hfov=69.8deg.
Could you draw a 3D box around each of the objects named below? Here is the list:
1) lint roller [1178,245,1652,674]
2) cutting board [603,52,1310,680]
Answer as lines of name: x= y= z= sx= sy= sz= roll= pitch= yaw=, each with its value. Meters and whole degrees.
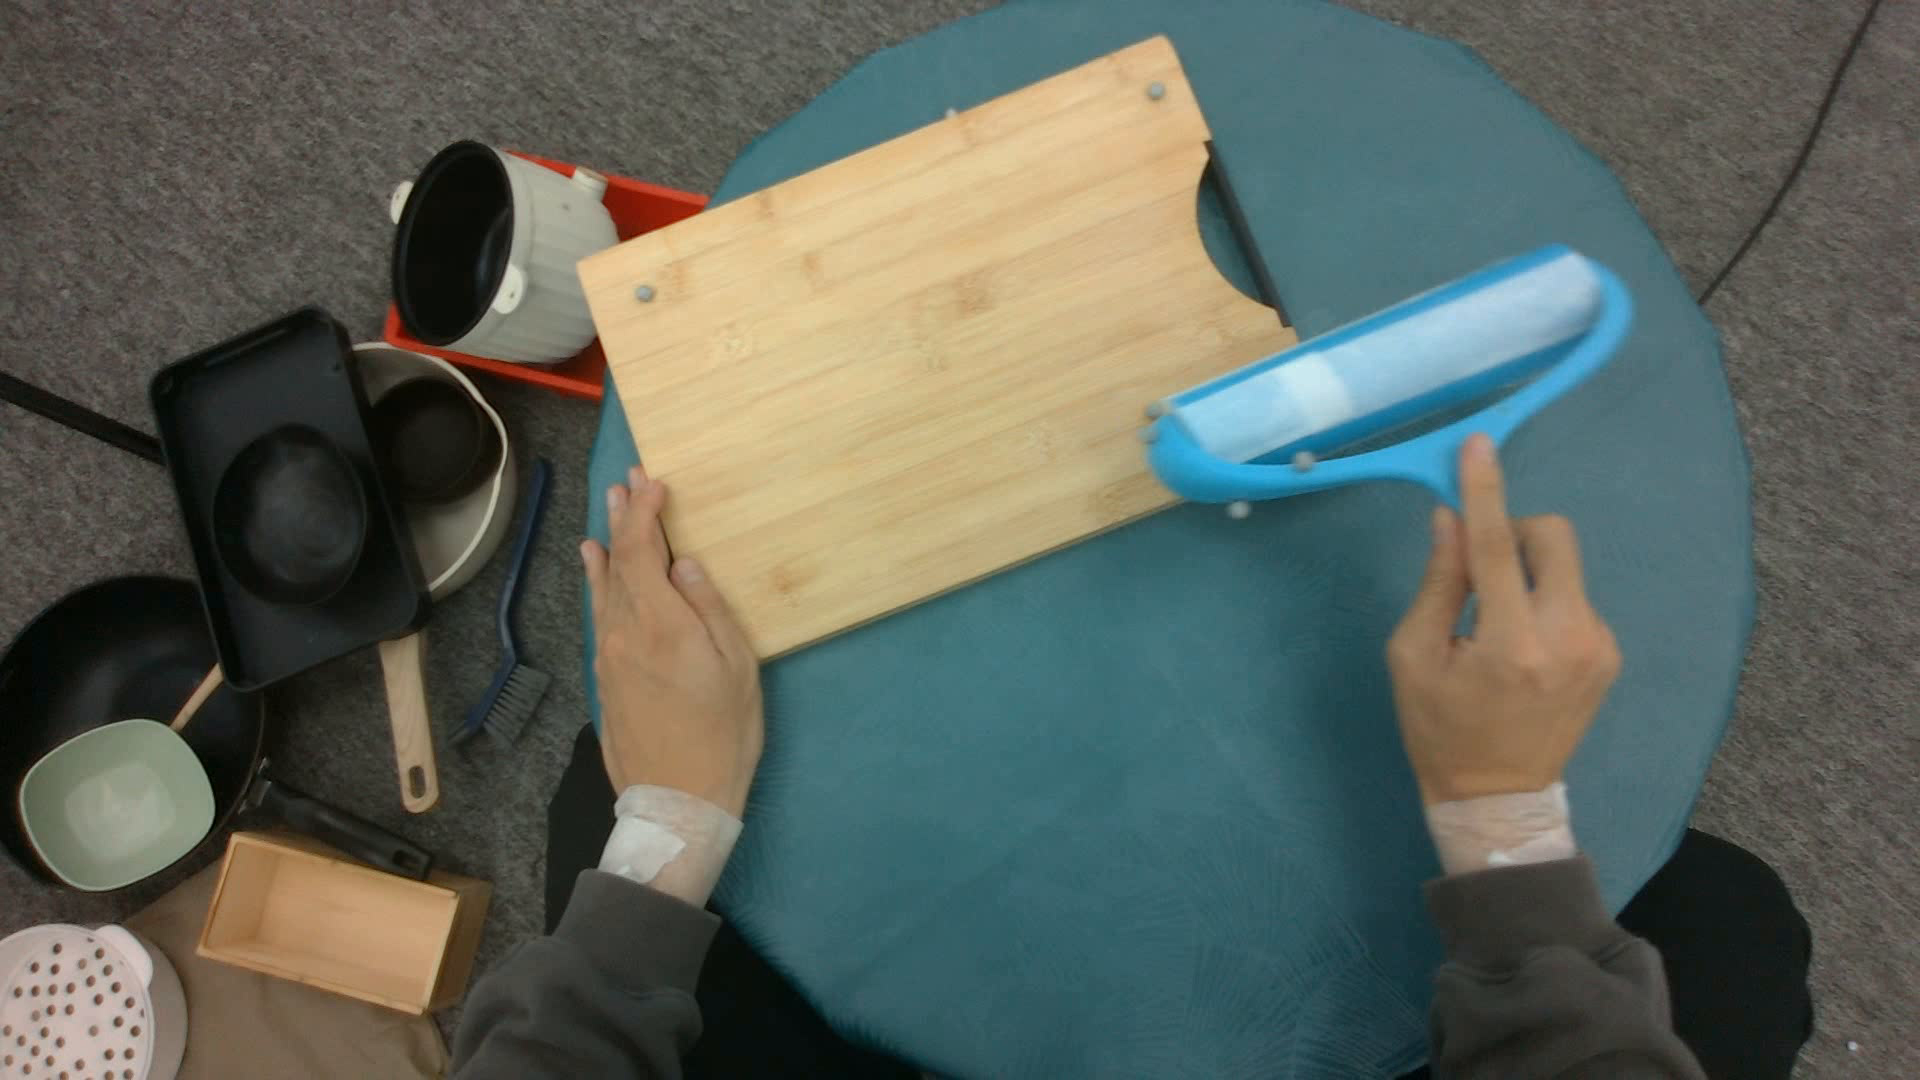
lint roller: x=0.234 y=-0.028 z=0.635 sx=0.229 sy=0.068 sz=0.180 roll=-23 pitch=68 yaw=1
cutting board: x=-0.001 y=-0.097 z=0.745 sx=0.348 sy=0.023 sz=0.251 roll=-22 pitch=78 yaw=1
